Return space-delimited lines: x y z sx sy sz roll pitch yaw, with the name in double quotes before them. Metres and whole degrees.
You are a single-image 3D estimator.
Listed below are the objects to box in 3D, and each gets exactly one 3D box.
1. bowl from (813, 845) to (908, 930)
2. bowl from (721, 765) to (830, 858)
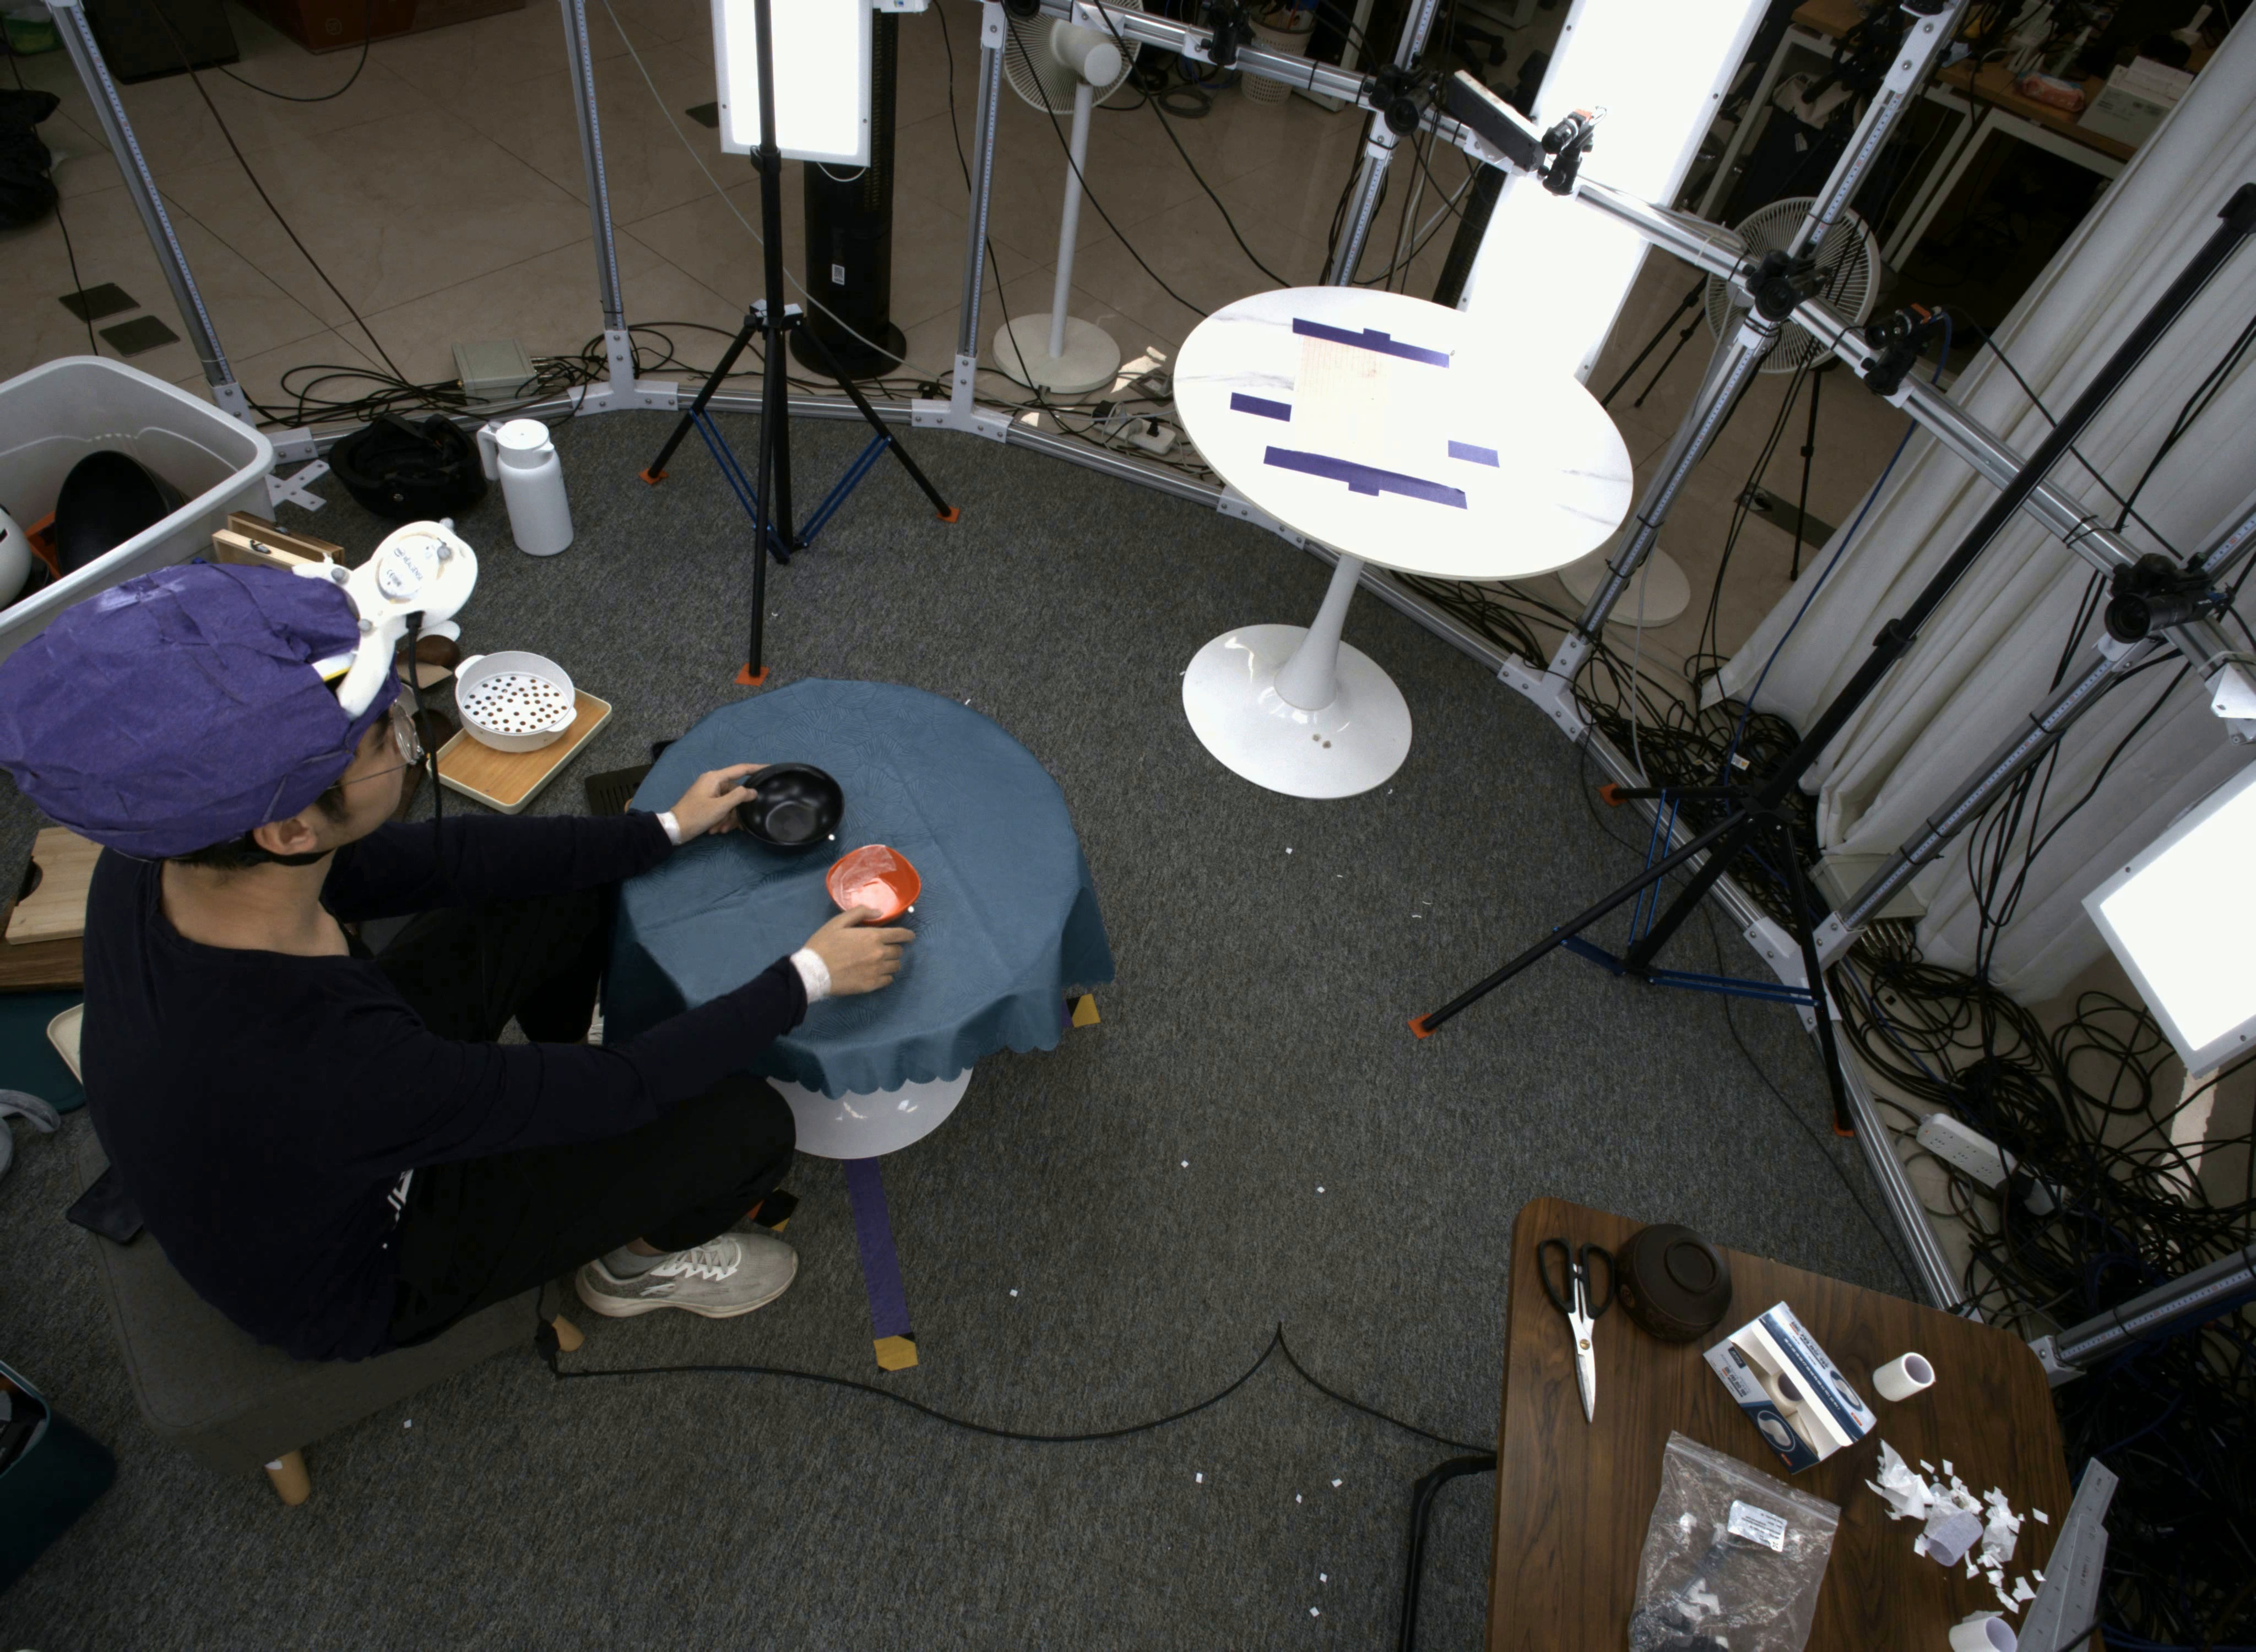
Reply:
"bowl" -0.342 0.085 1.658 0.119 0.052 0.117 9 52 -10
"bowl" -0.462 -0.012 1.705 0.139 0.051 0.137 6 55 -7
